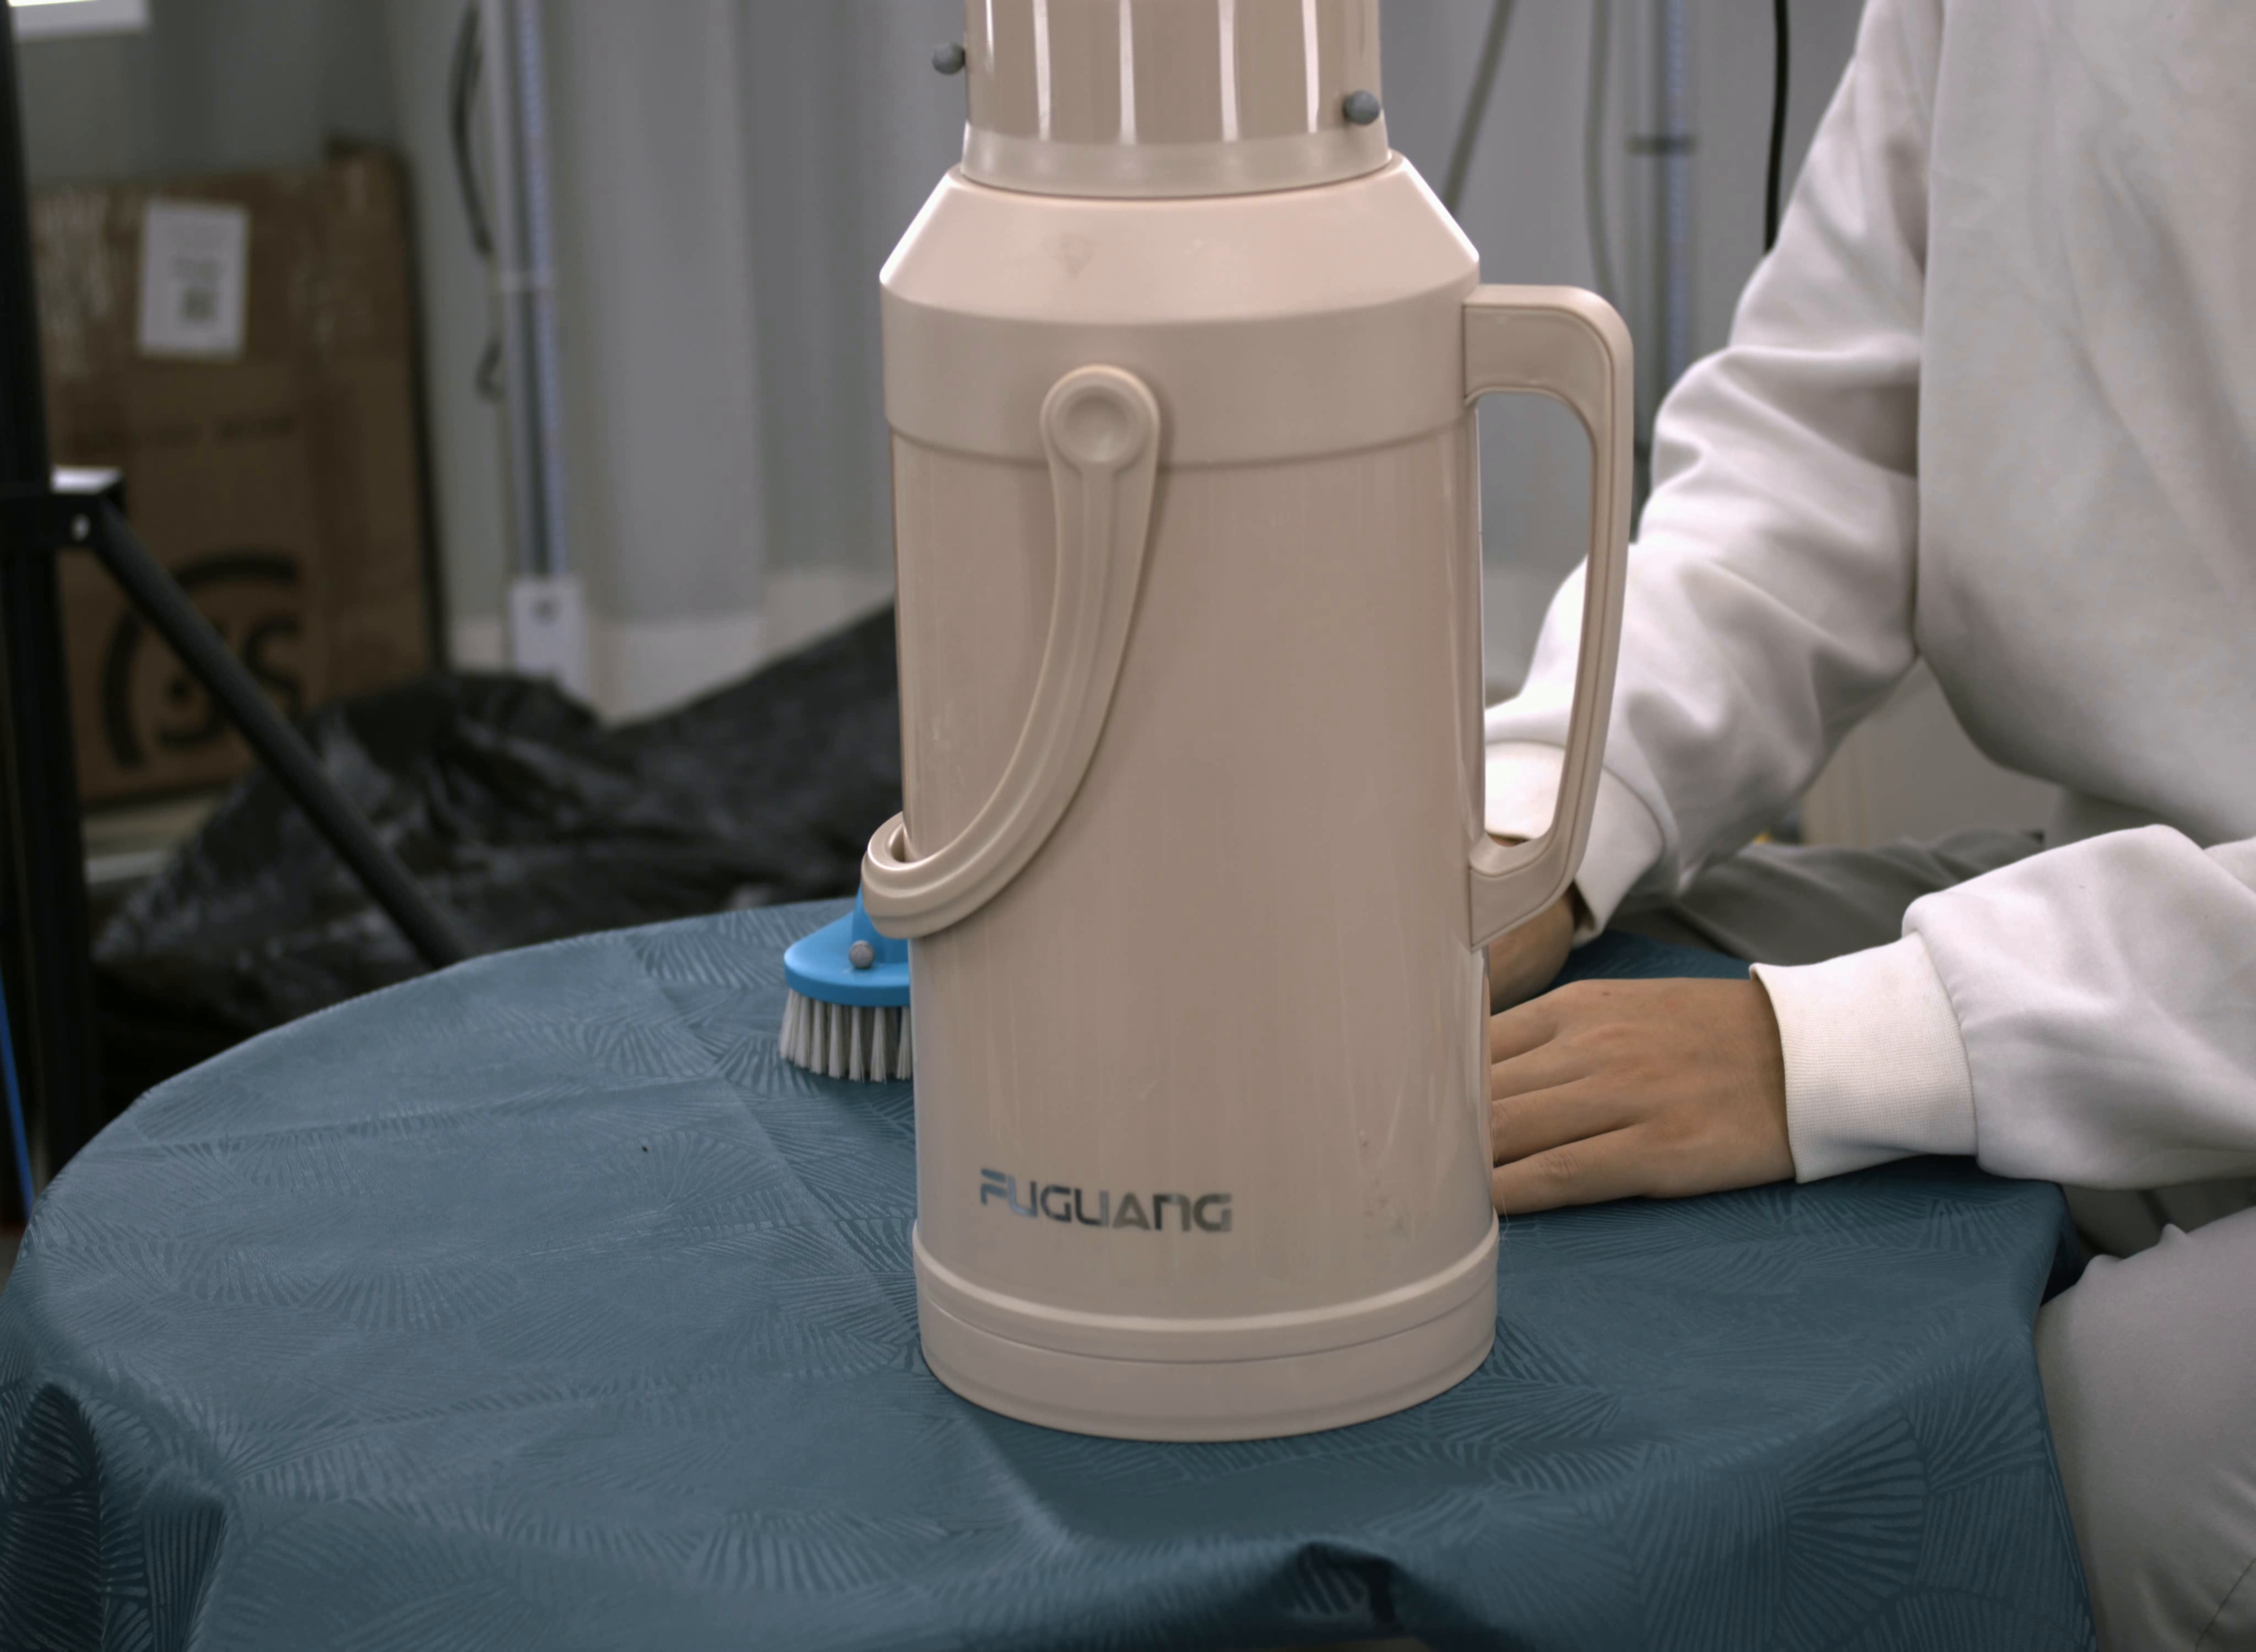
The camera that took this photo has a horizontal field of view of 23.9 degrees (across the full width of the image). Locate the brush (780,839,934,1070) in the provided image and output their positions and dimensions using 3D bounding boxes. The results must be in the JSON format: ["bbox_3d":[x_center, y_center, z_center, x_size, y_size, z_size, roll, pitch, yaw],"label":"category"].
[{"bbox_3d":[-0.058,0.031,1.723,0.086,0.064,0.139,1,14,29],"label":"brush"}]

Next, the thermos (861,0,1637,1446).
[{"bbox_3d":[0.029,-0.051,1.391,0.208,0.406,0.174,2,14,15],"label":"thermos"}]
